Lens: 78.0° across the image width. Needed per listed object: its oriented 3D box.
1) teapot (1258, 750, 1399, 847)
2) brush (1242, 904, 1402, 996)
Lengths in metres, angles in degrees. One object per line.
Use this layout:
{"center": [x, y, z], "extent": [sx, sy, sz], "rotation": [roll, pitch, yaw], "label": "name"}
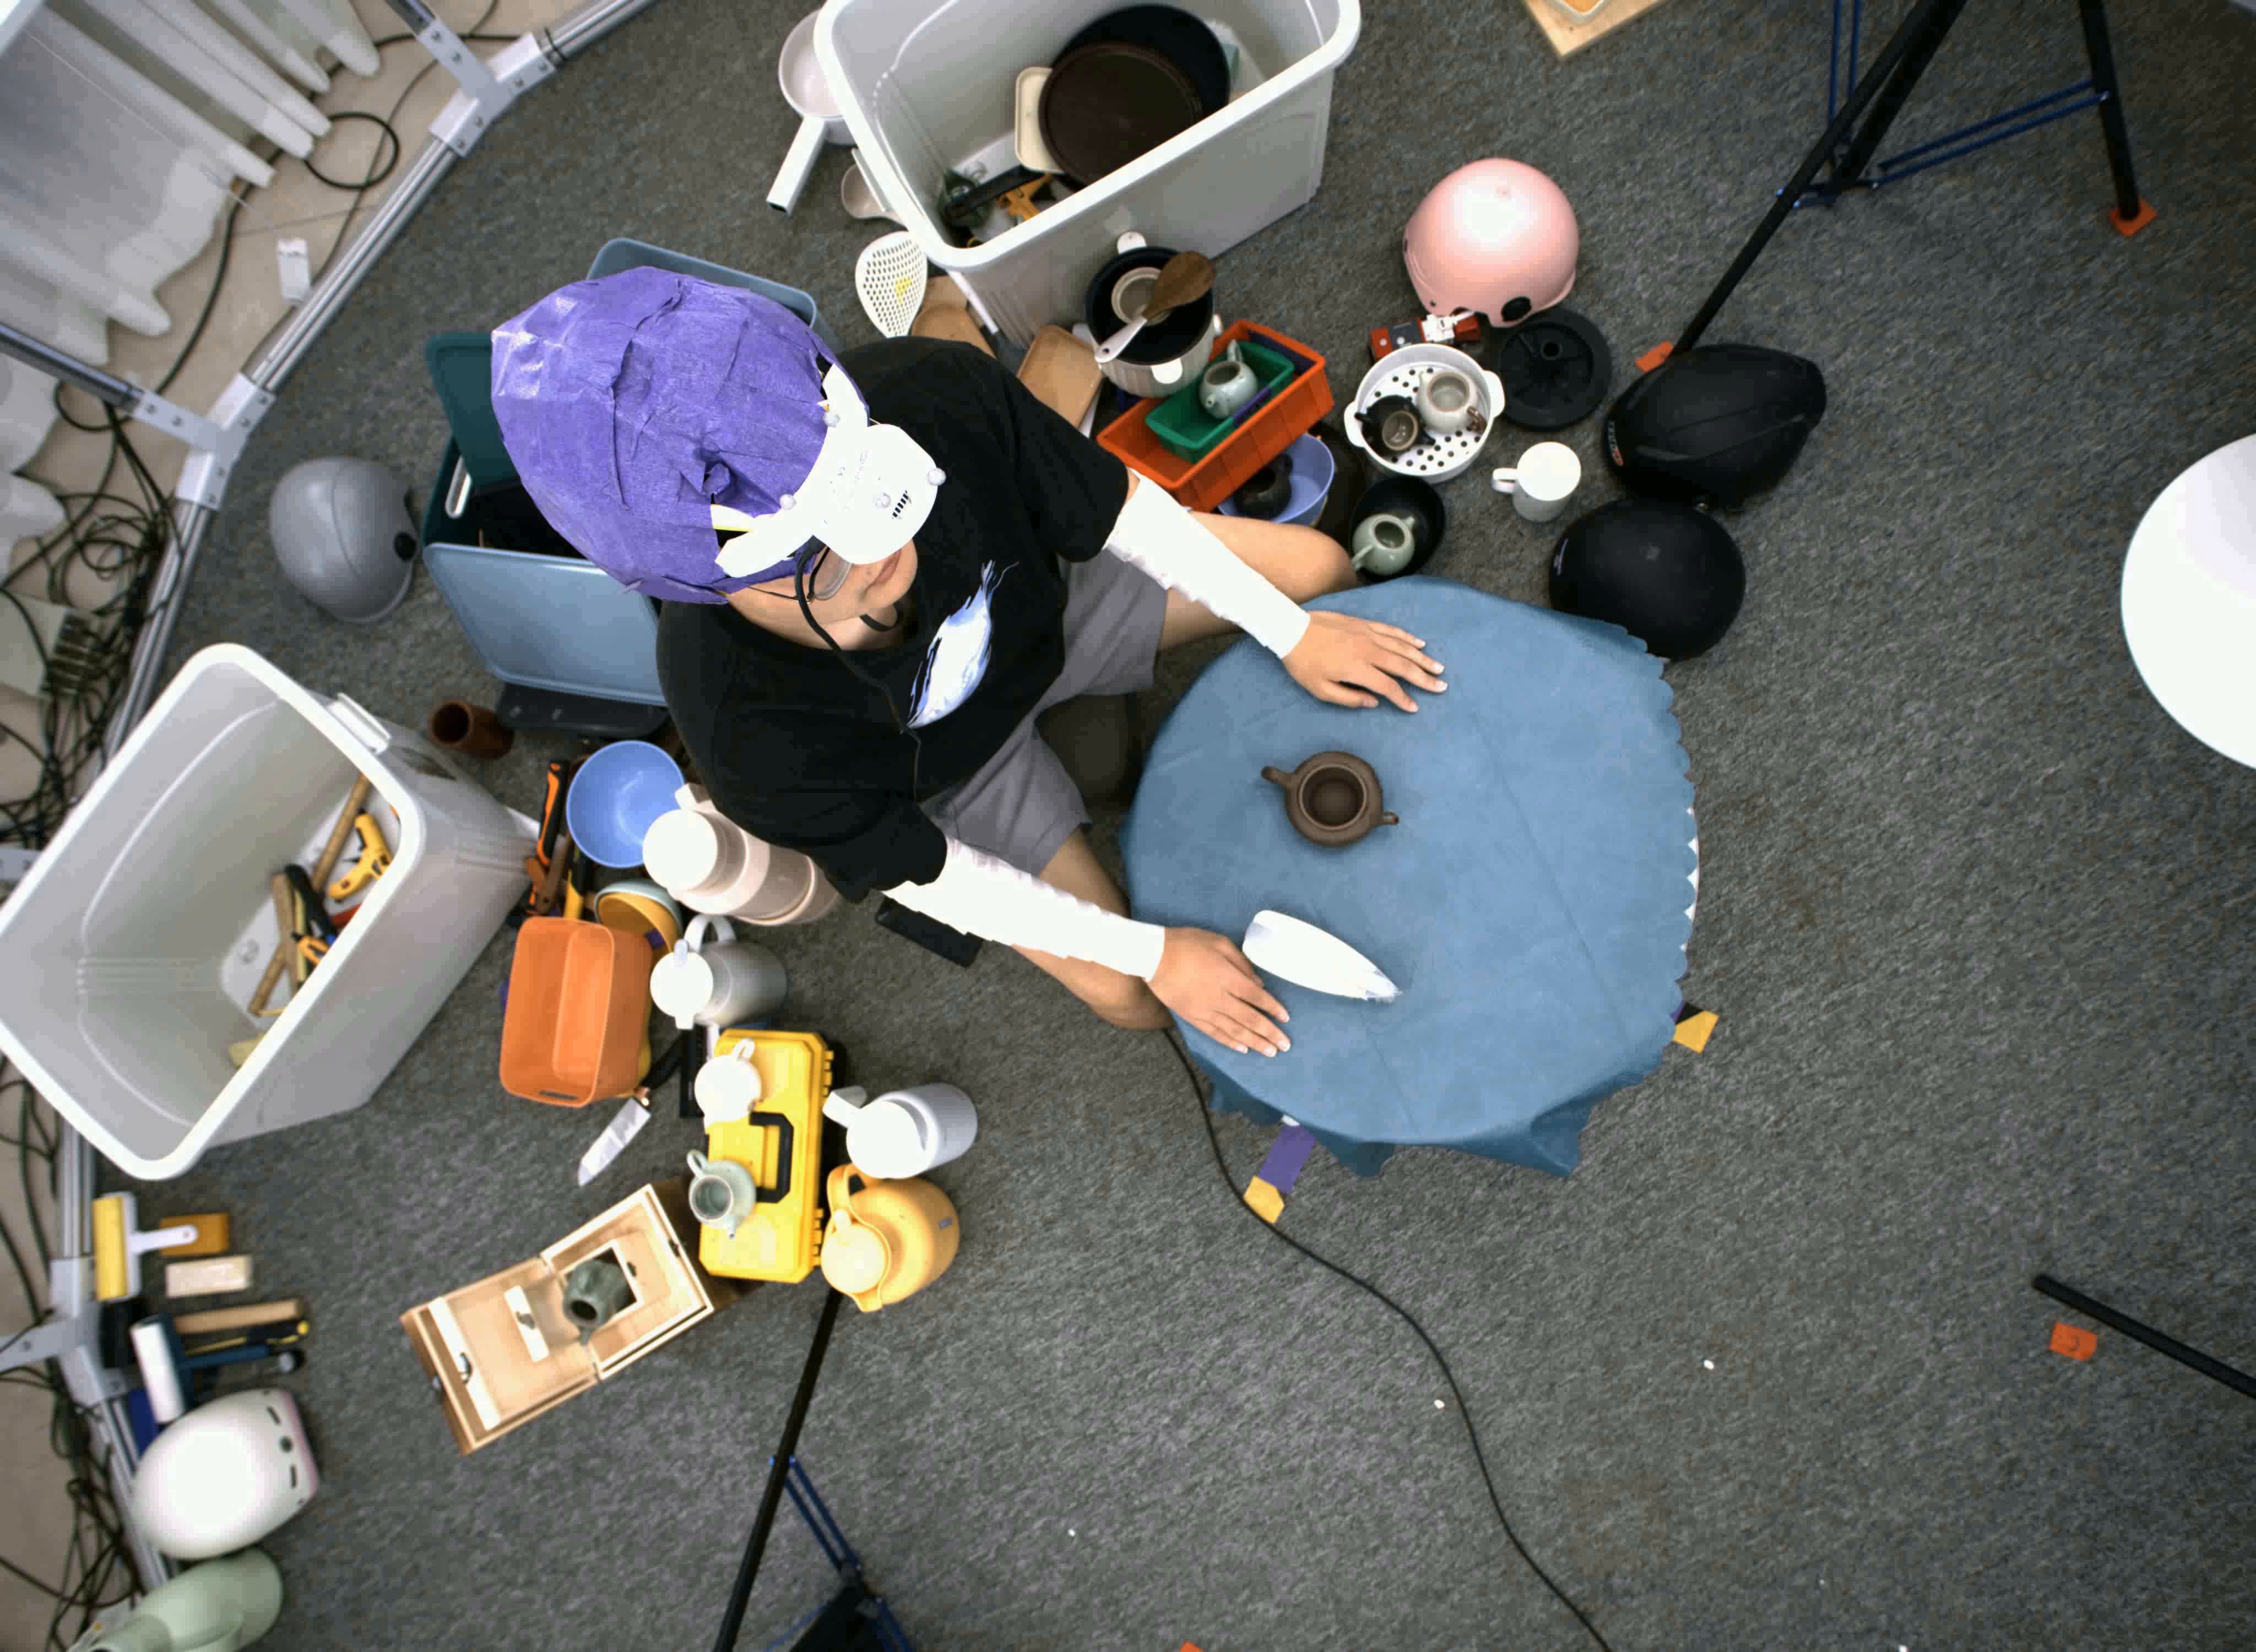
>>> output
{"center": [0.210, -0.031, 1.448], "extent": [0.153, 0.054, 0.102], "rotation": [16, 88, 11], "label": "teapot"}
{"center": [0.200, 0.136, 1.422], "extent": [0.175, 0.094, 0.061], "rotation": [23, 93, 9], "label": "brush"}
